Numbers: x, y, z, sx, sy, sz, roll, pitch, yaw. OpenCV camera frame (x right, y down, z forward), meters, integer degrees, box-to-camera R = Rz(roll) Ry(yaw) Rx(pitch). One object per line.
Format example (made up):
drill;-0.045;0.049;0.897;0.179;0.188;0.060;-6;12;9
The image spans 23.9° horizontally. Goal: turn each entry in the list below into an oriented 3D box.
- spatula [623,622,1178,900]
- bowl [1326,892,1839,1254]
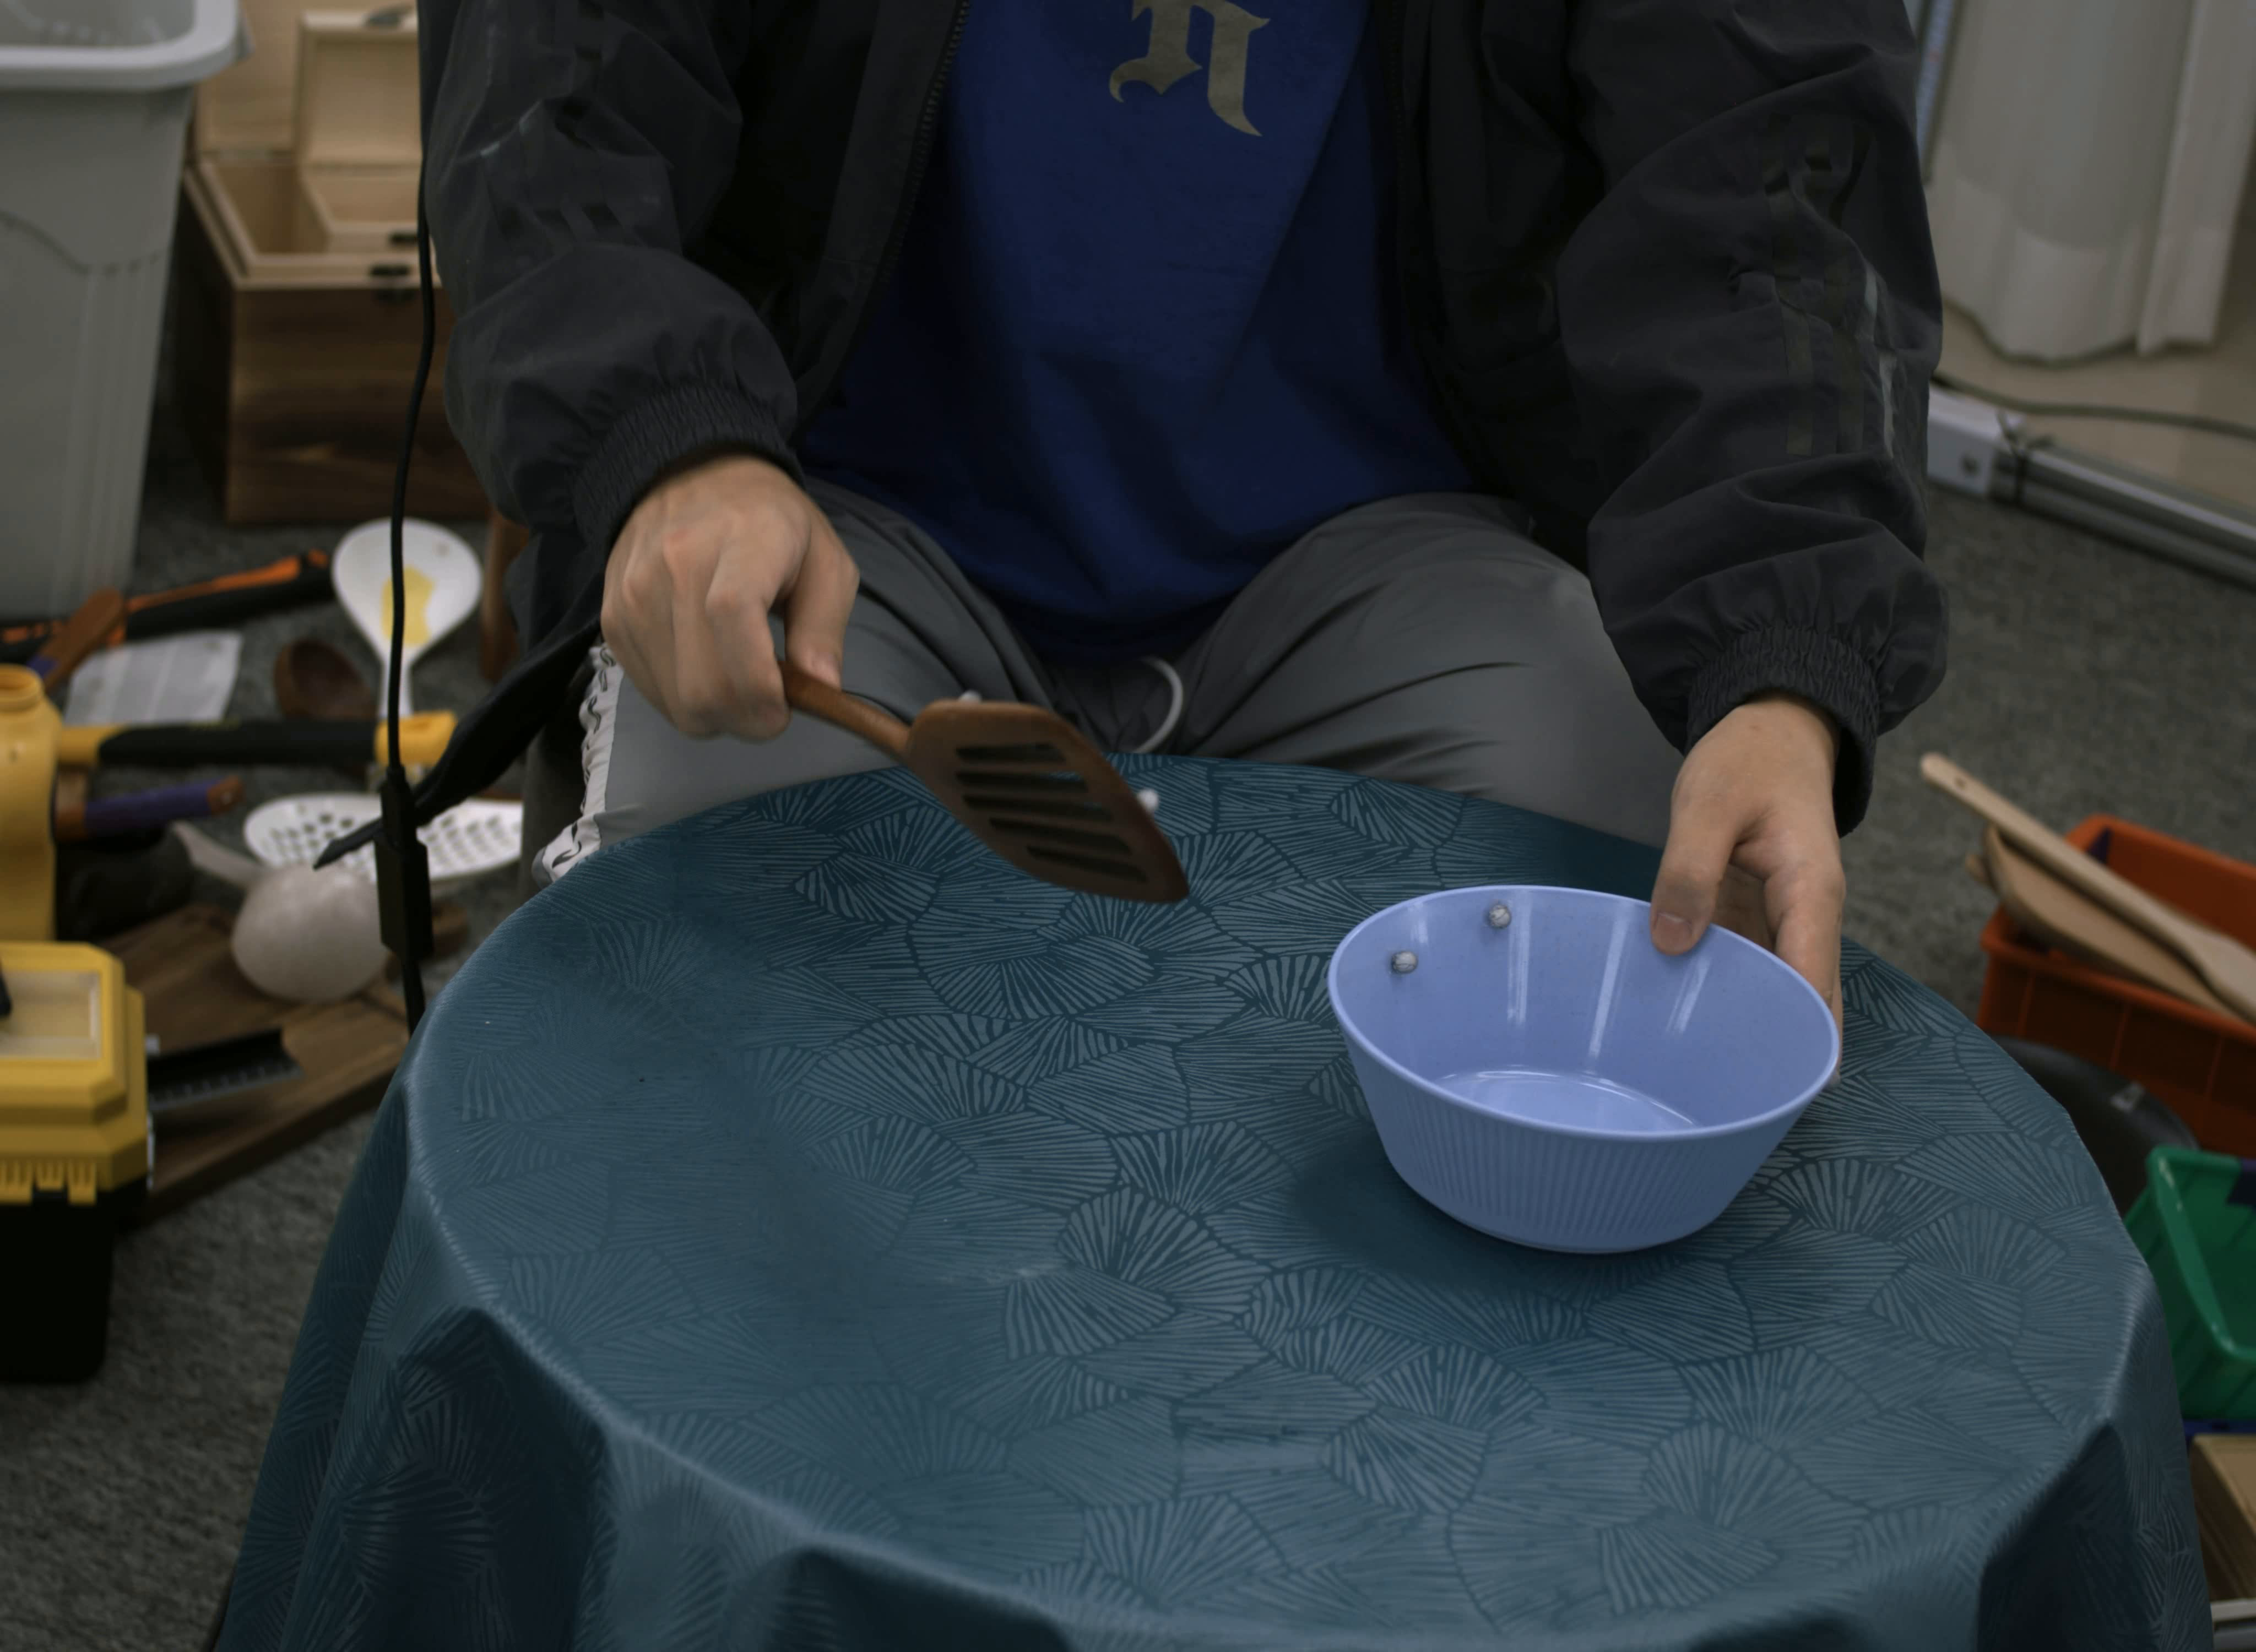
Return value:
spatula;-0.095;-0.033;1.808;0.024;0.085;0.389;-43;26;-14
bowl;0.152;0.091;1.825;0.175;0.070;0.177;5;25;-3
